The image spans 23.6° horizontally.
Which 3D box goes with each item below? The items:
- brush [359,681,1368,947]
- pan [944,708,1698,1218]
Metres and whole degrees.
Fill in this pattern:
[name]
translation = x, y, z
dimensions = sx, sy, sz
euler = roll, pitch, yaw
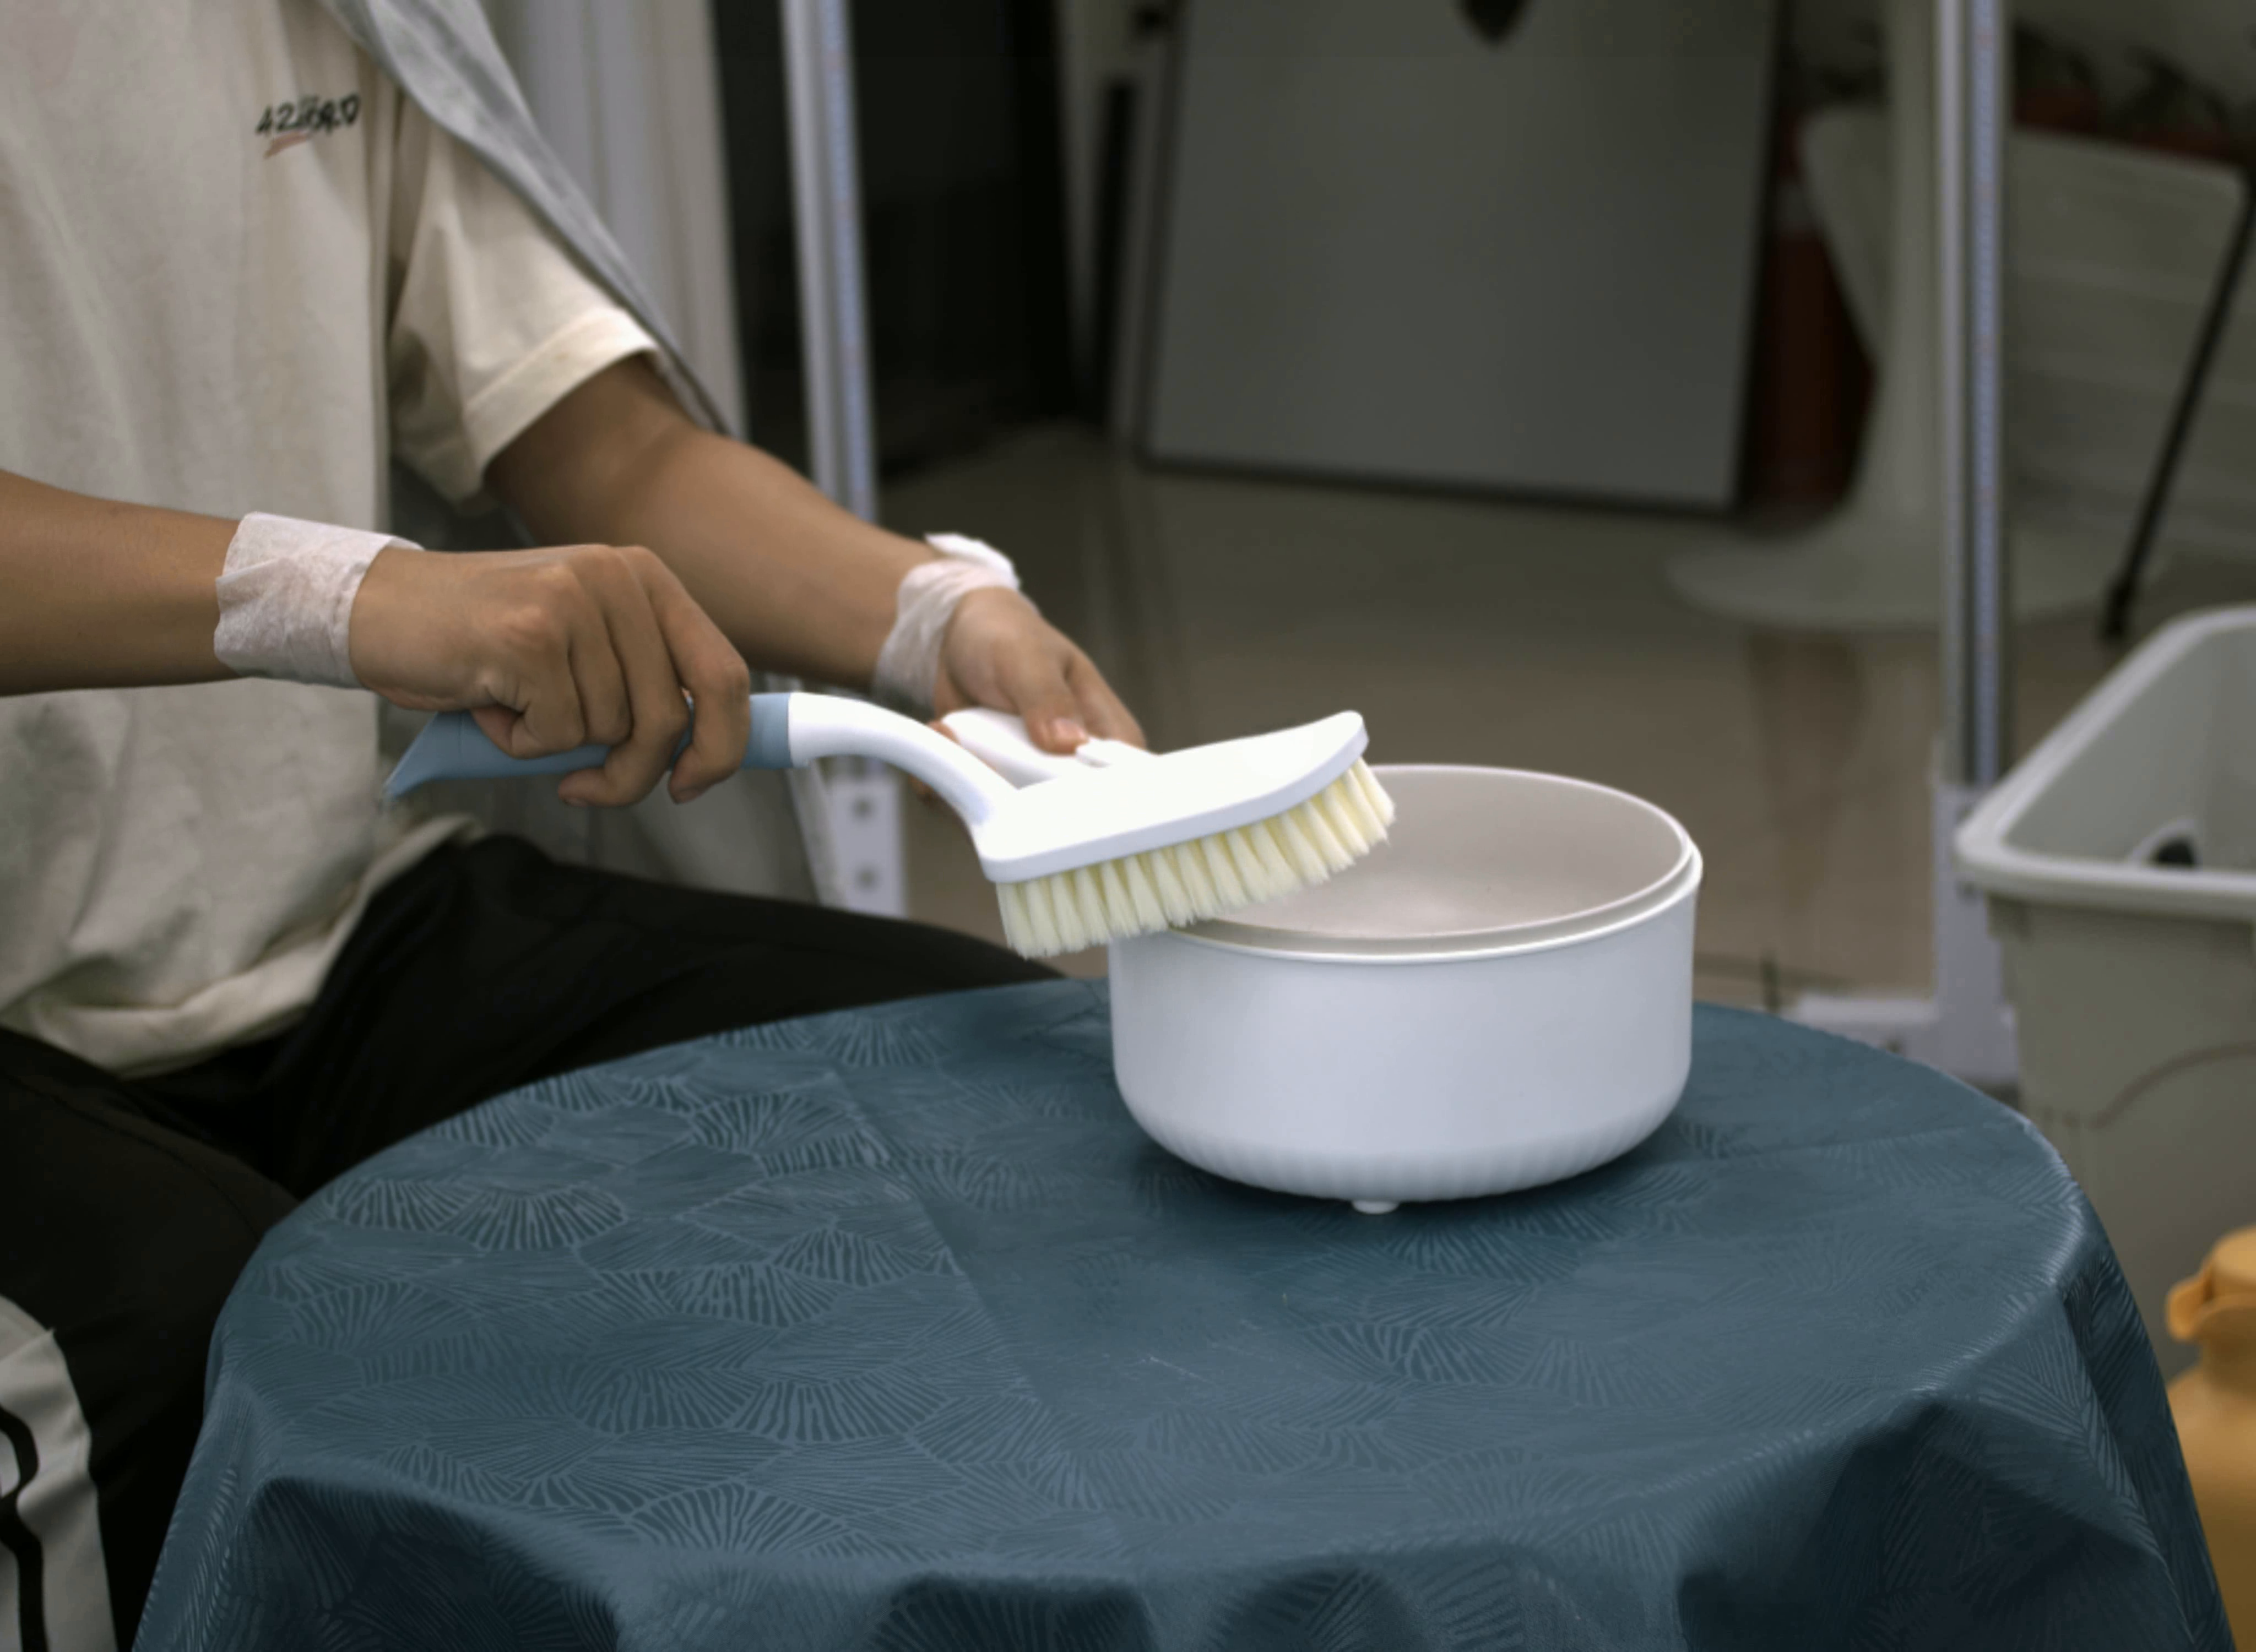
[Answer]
[brush]
translation = -0.084, 0.004, 1.724
dimensions = 0.322, 0.085, 0.083
euler = -2, -20, 7
[pan]
translation = 0.047, 0.040, 1.855
dimensions = 0.197, 0.103, 0.358
euler = -13, 19, -32
